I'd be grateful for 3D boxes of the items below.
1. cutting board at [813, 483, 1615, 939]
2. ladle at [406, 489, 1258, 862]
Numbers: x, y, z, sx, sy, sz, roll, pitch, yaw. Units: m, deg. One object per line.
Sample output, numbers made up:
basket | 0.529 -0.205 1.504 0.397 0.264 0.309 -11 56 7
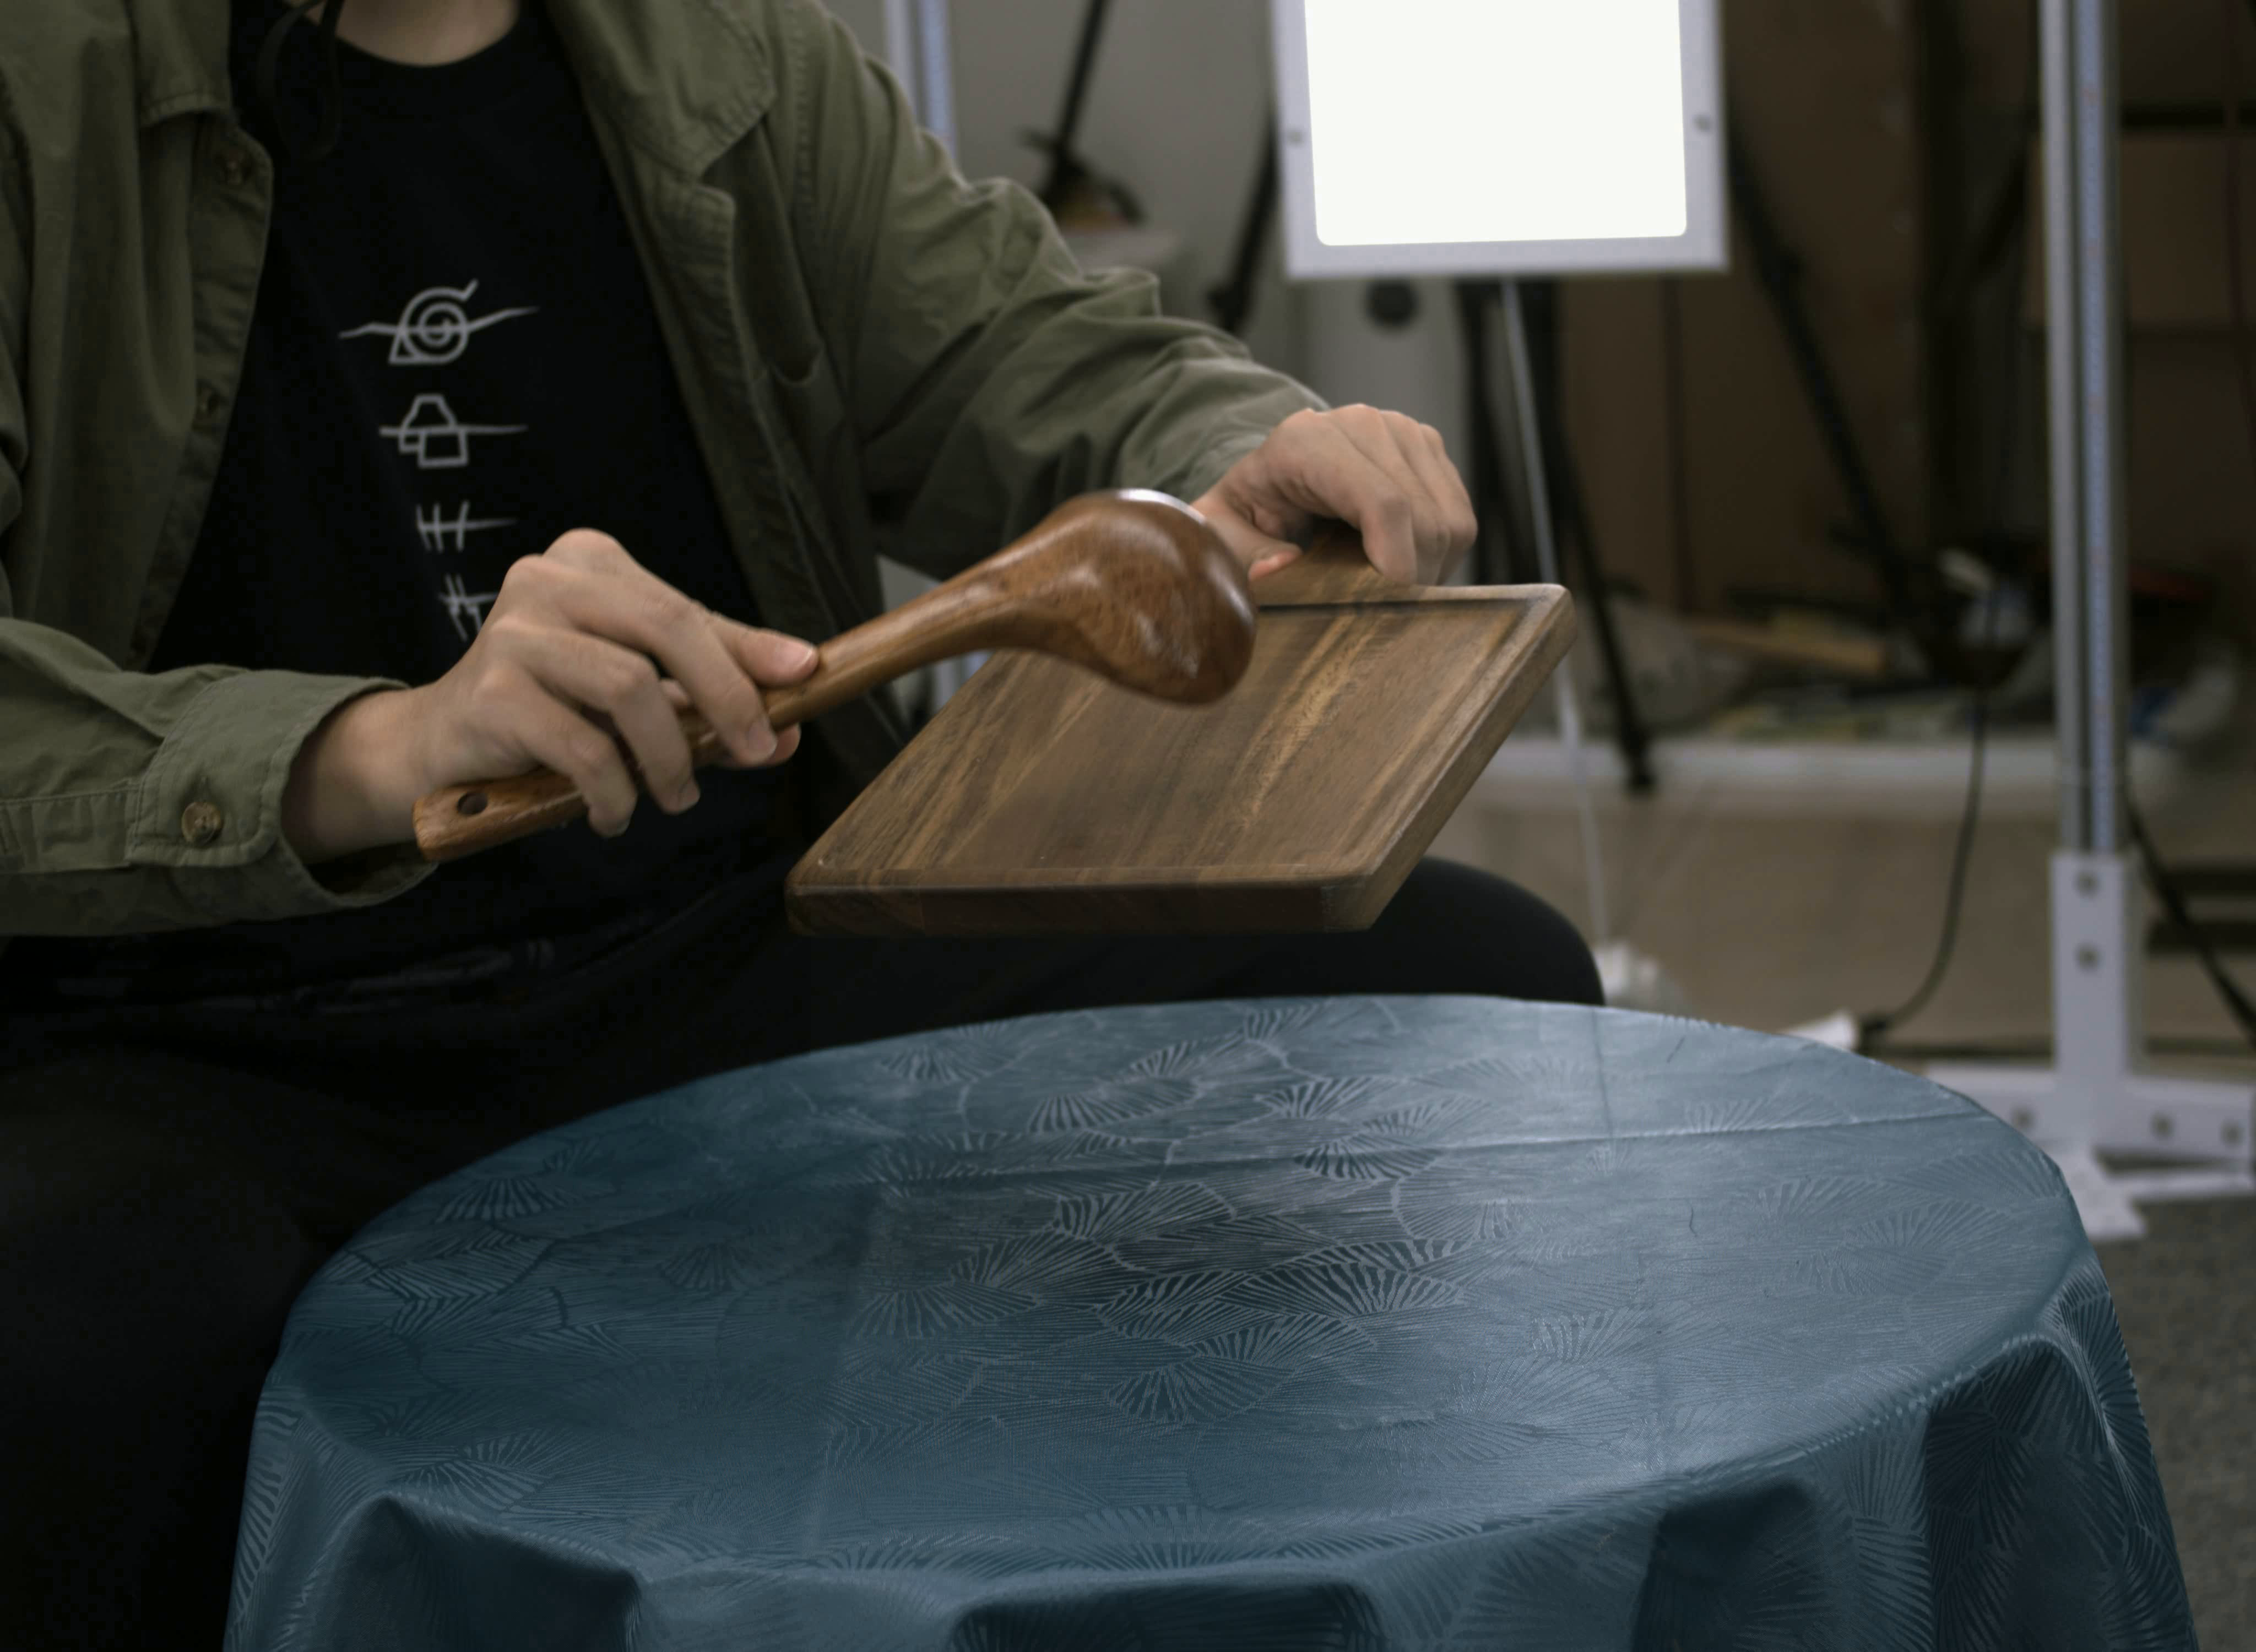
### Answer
cutting board | 0.050 -0.044 1.824 0.204 0.023 0.346 -1 23 24
ladle | -0.092 -0.034 1.750 0.275 0.076 0.082 -22 50 9
